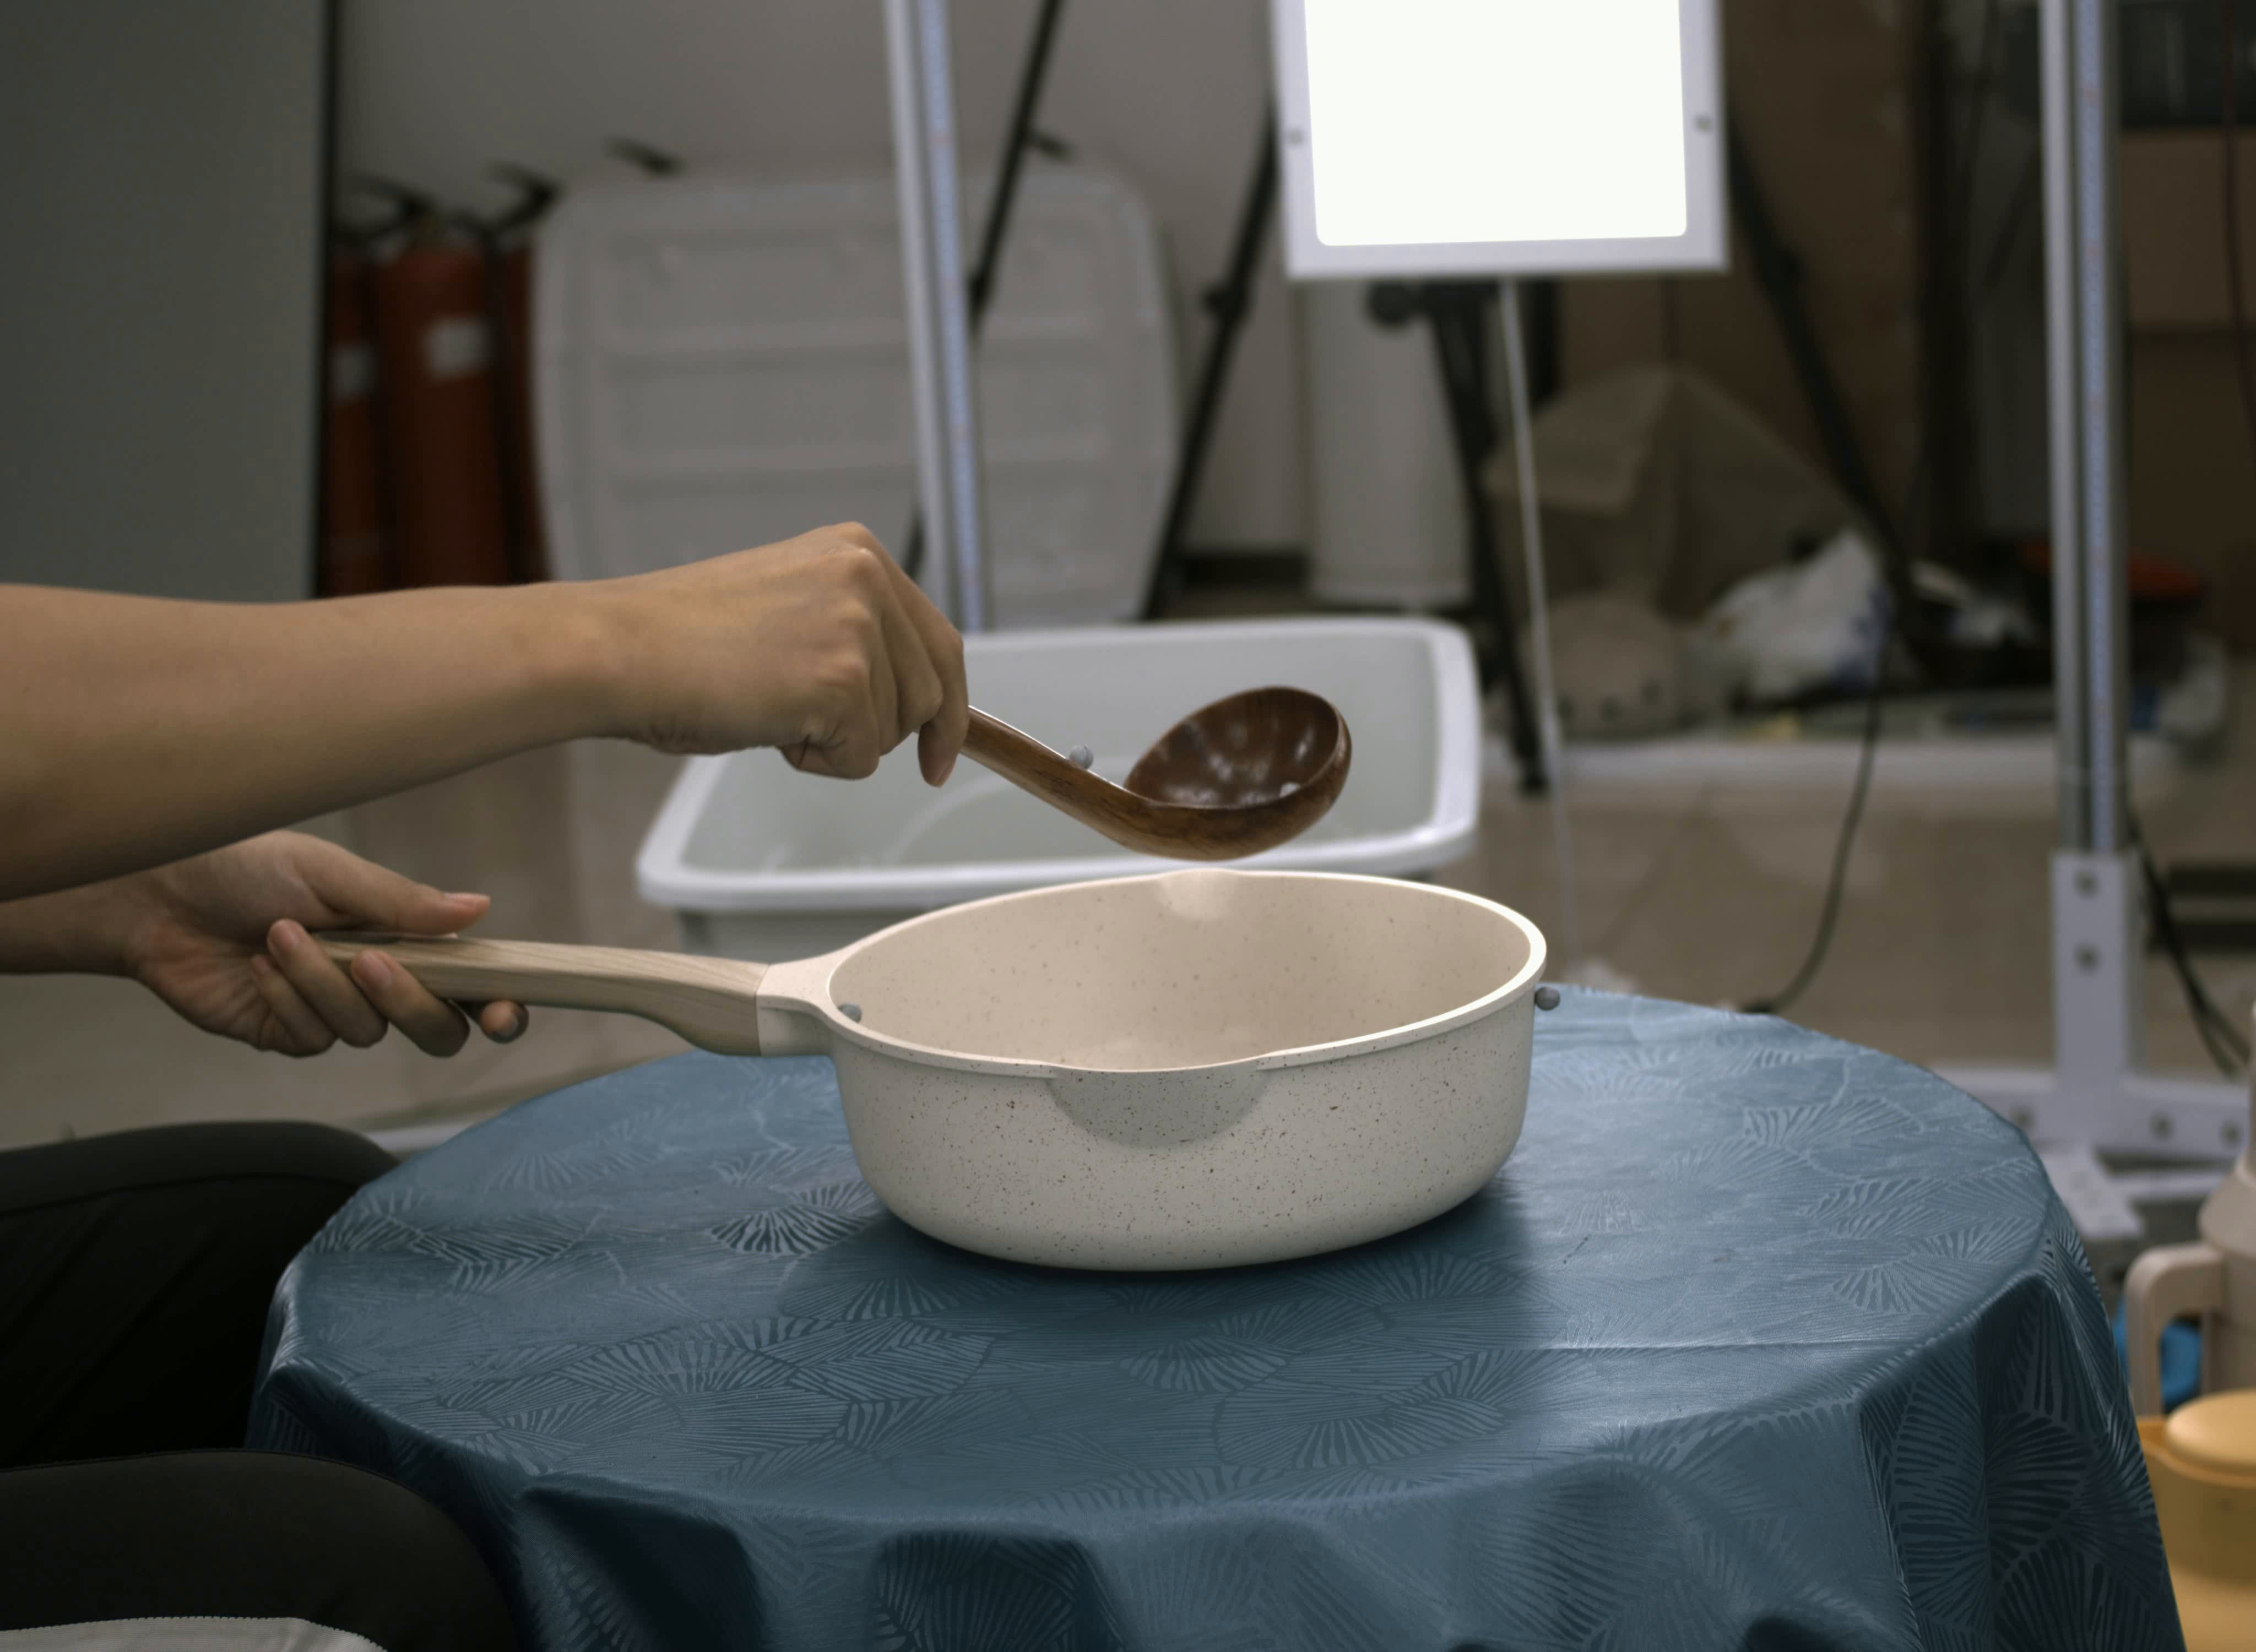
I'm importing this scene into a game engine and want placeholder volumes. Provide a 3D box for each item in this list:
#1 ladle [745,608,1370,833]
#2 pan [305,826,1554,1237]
[{"bbox_3d":[-0.020,-0.057,1.815,0.084,0.076,0.268,-2,-18,41],"label":"ladle"},{"bbox_3d":[-0.067,0.071,1.916,0.436,0.102,0.261,-4,15,7],"label":"pan"}]
